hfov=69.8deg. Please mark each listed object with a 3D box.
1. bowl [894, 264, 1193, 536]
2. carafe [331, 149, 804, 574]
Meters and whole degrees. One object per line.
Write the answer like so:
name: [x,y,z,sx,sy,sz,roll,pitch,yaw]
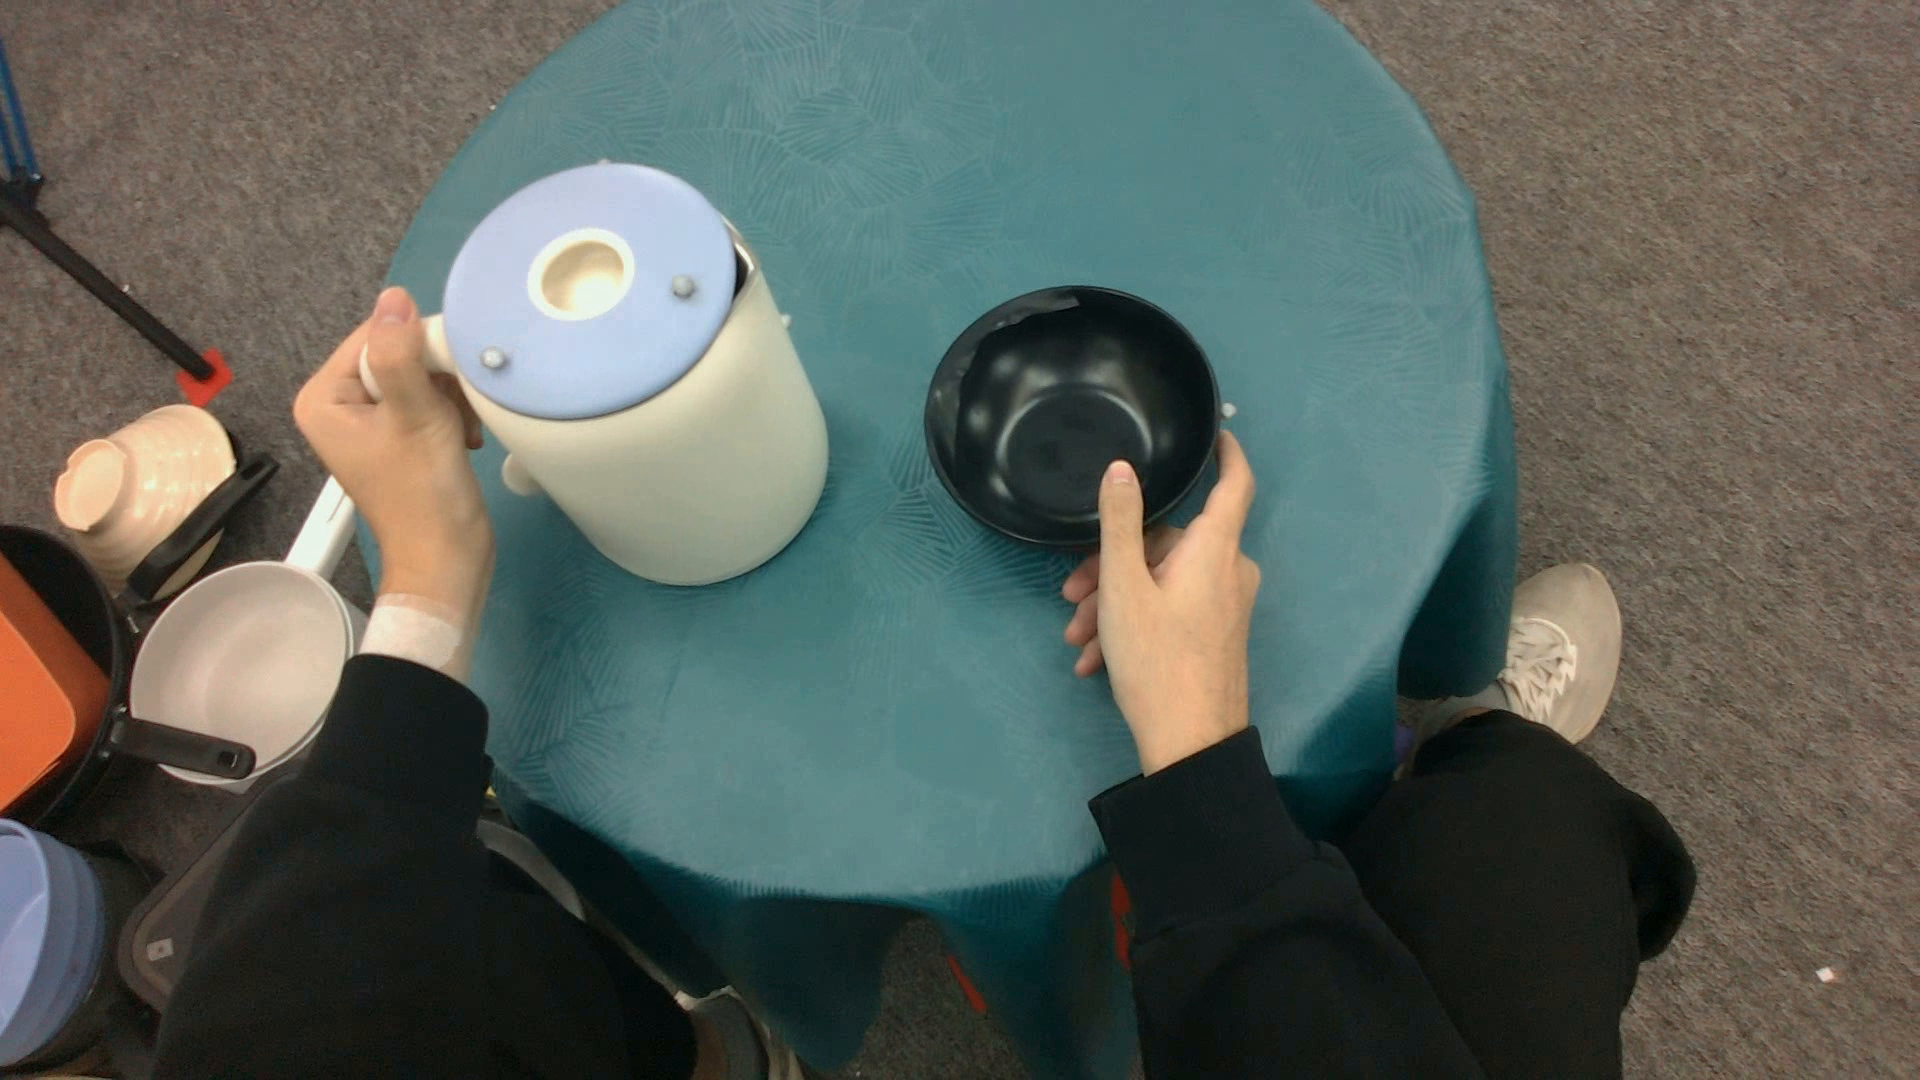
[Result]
bowl: [0.040,-0.061,0.661,0.140,0.049,0.140,-2,69,5]
carafe: [-0.174,-0.070,0.621,0.191,0.182,0.132,-10,65,4]
